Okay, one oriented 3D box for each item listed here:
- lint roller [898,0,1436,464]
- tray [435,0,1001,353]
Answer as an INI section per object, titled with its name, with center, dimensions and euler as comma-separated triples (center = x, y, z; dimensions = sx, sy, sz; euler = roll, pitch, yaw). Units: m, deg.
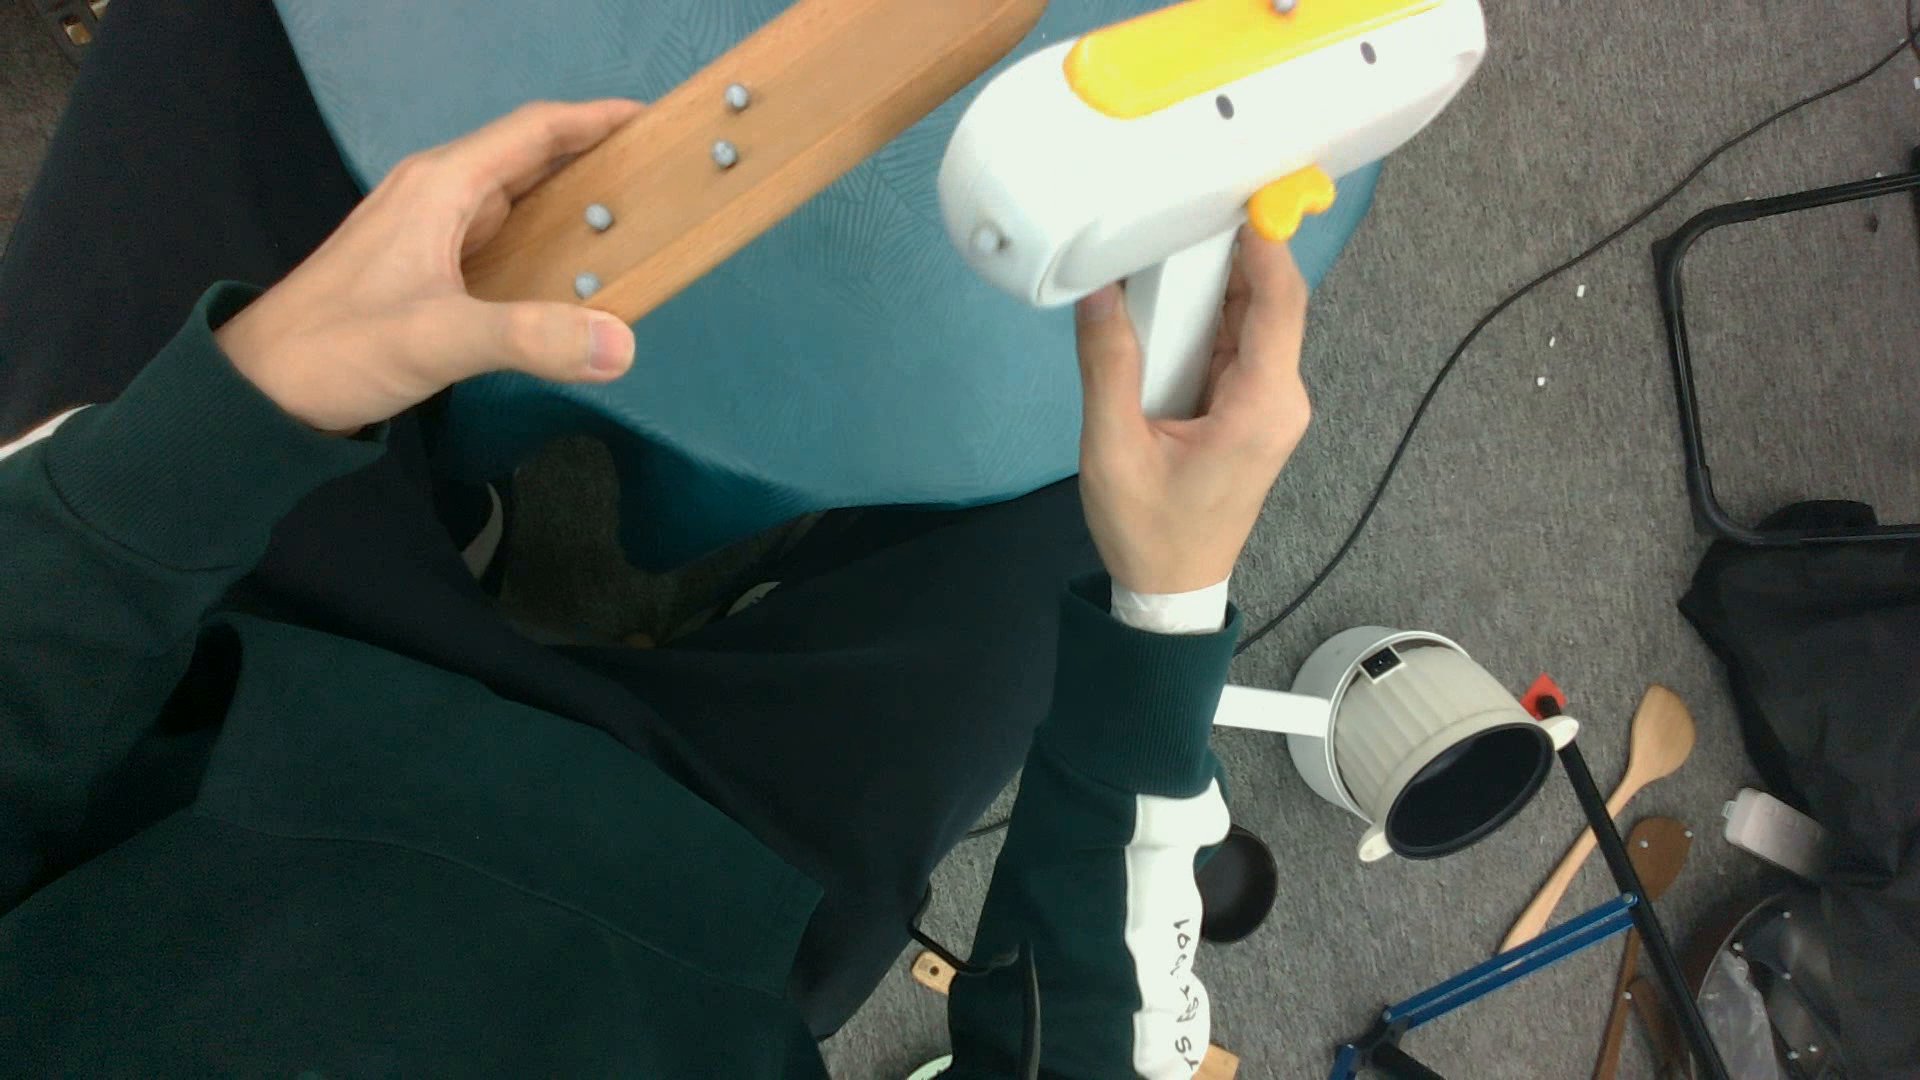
[lint roller]
center = 0.064, -0.099, 0.466
dimensions = 0.193, 0.191, 0.074
euler = -36, 72, -25
[tray]
center = -0.074, -0.140, 0.449
dimensions = 0.231, 0.102, 0.020
euler = -38, 132, -5
